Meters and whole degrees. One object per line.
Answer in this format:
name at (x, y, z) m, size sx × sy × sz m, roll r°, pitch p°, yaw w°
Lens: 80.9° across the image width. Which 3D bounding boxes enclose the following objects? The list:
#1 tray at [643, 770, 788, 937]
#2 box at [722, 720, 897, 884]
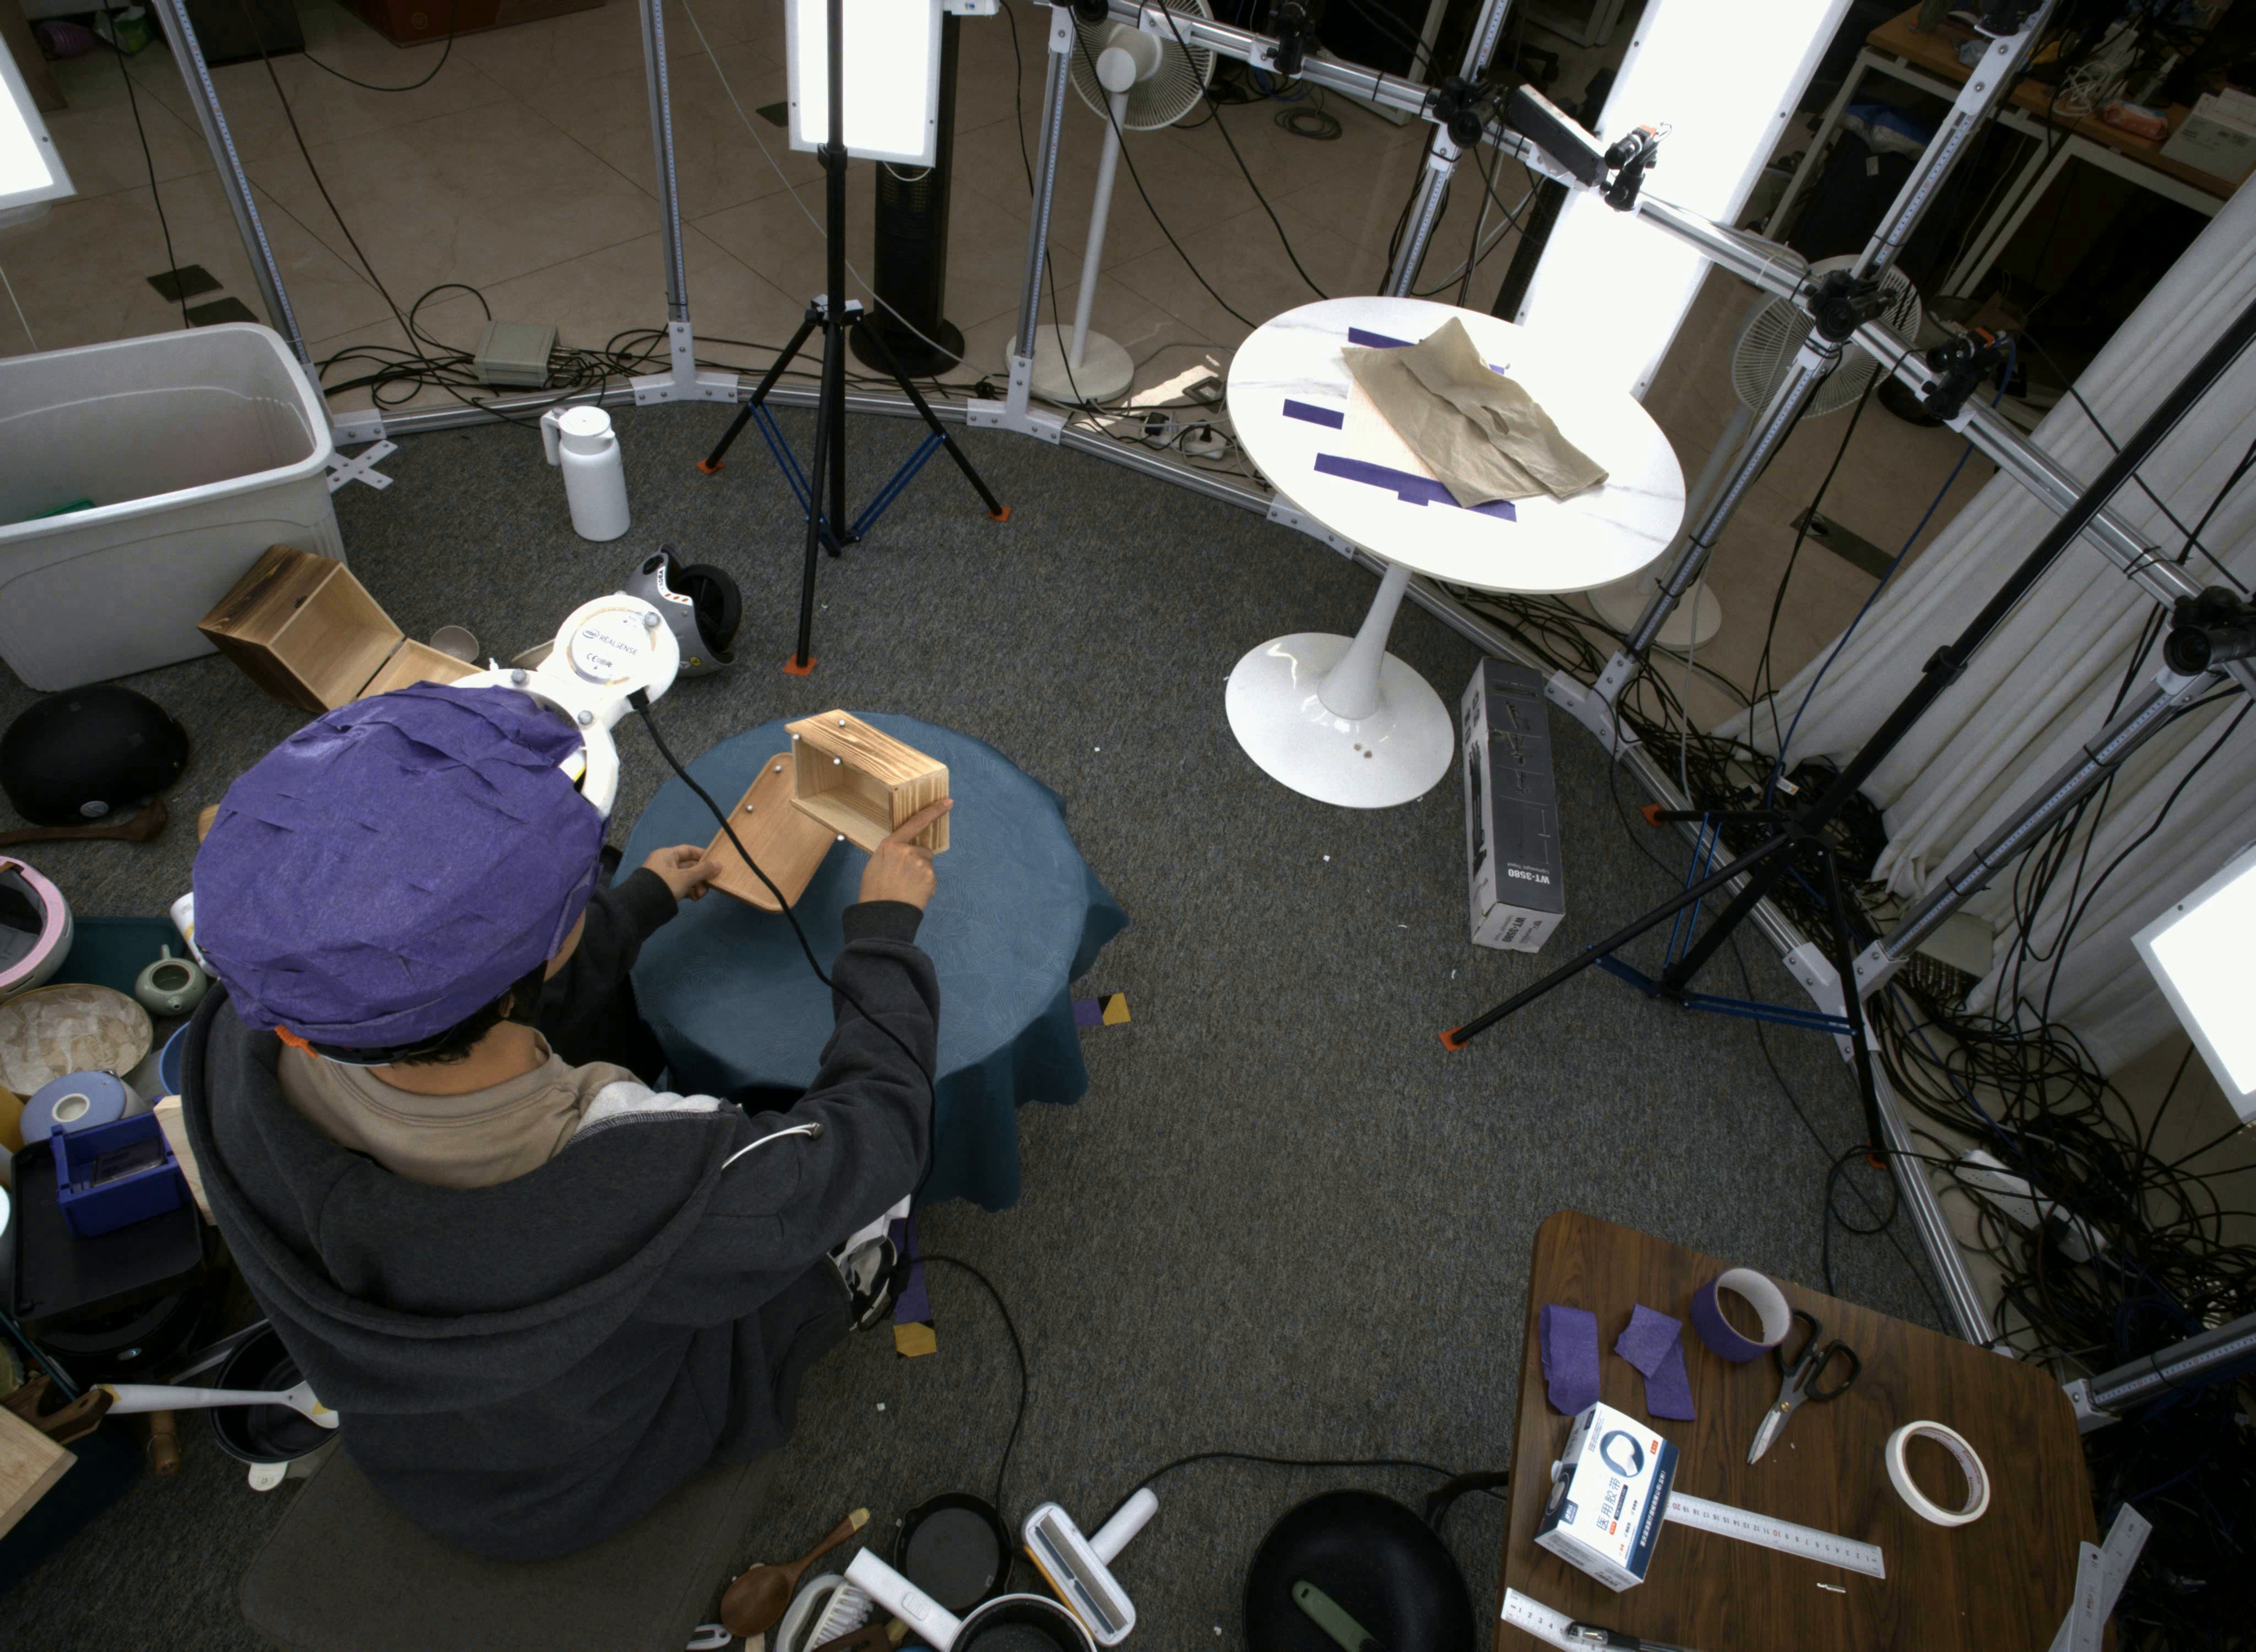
tray at (-0.494, 0.029, 1.593) m, size 0.130 × 0.023 × 0.247 m, roll 21°, pitch 44°, yaw -6°
box at (-0.363, -0.032, 1.475) m, size 0.203 × 0.111 × 0.081 m, roll 23°, pitch 35°, yaw 34°
